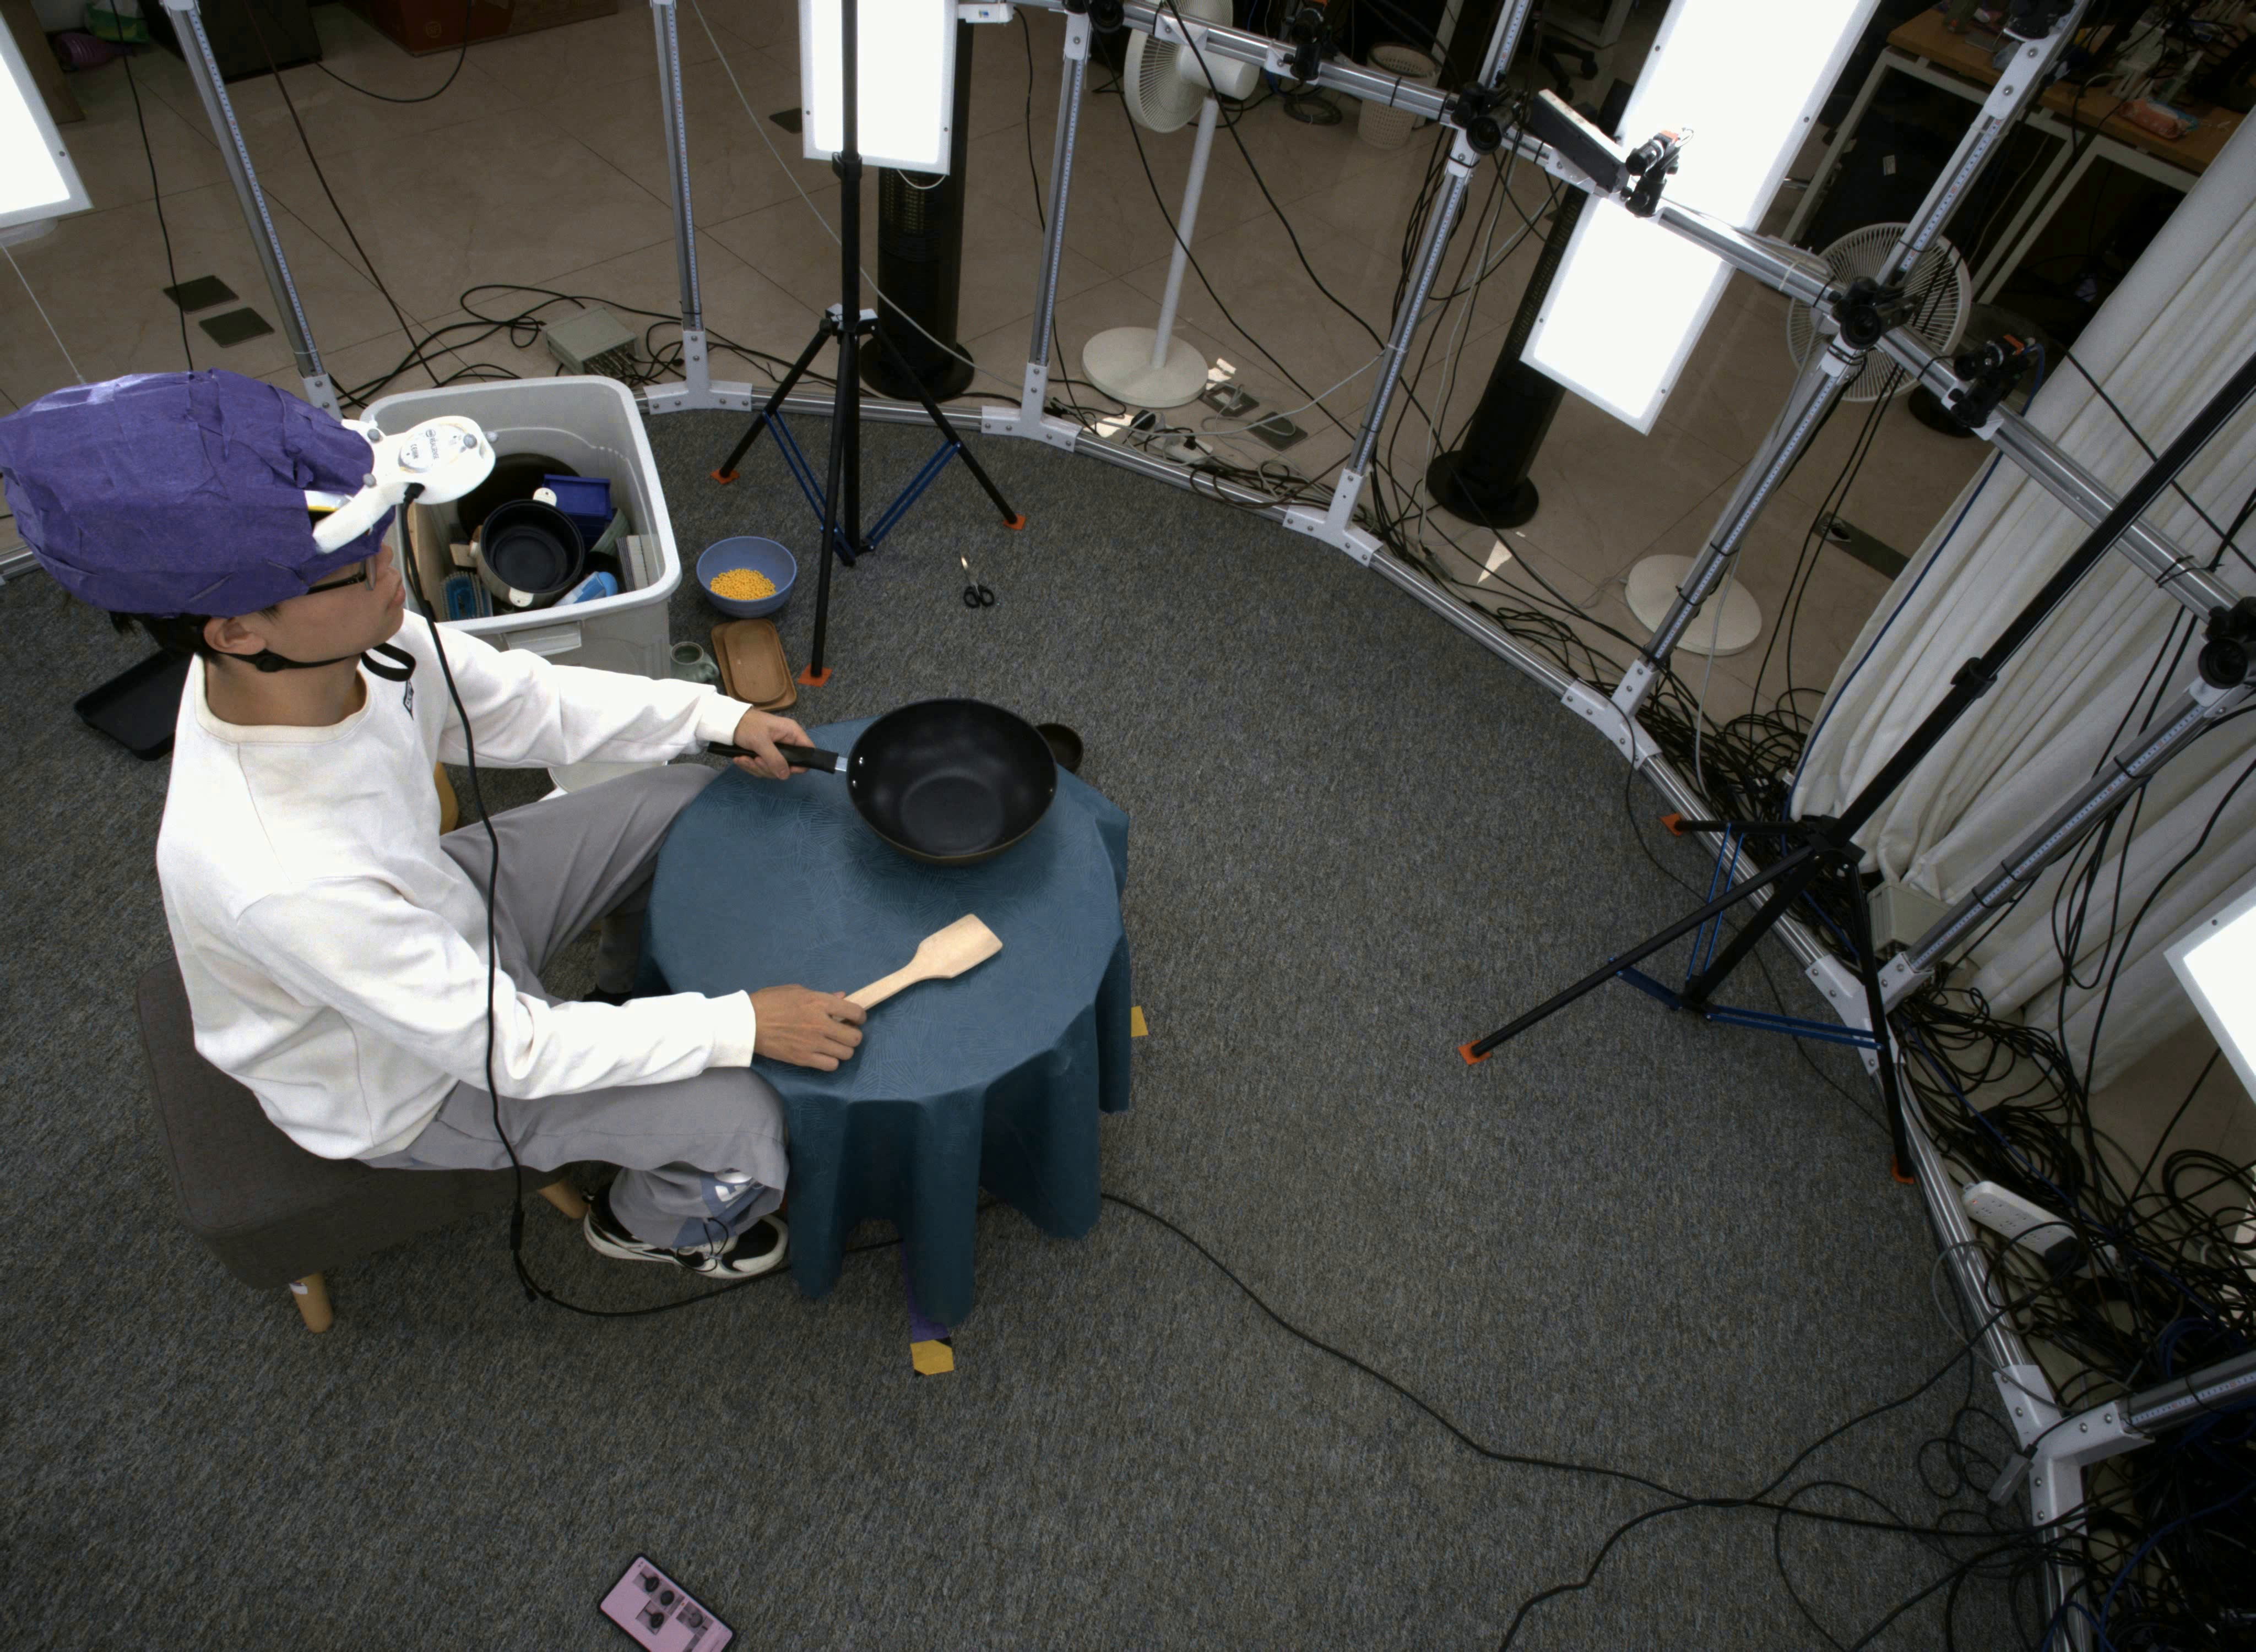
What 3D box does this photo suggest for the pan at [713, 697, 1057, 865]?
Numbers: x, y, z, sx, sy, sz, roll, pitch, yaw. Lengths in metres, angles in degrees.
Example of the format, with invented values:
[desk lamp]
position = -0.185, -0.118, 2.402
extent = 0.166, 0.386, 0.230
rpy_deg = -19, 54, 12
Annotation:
[pan]
position = -0.325, -0.058, 1.748
extent = 0.460, 0.089, 0.283
rpy_deg = 7, 50, -3

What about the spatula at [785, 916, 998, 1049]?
[spatula]
position = -0.292, 0.195, 1.603
extent = 0.294, 0.011, 0.070
rpy_deg = -29, 58, -33
